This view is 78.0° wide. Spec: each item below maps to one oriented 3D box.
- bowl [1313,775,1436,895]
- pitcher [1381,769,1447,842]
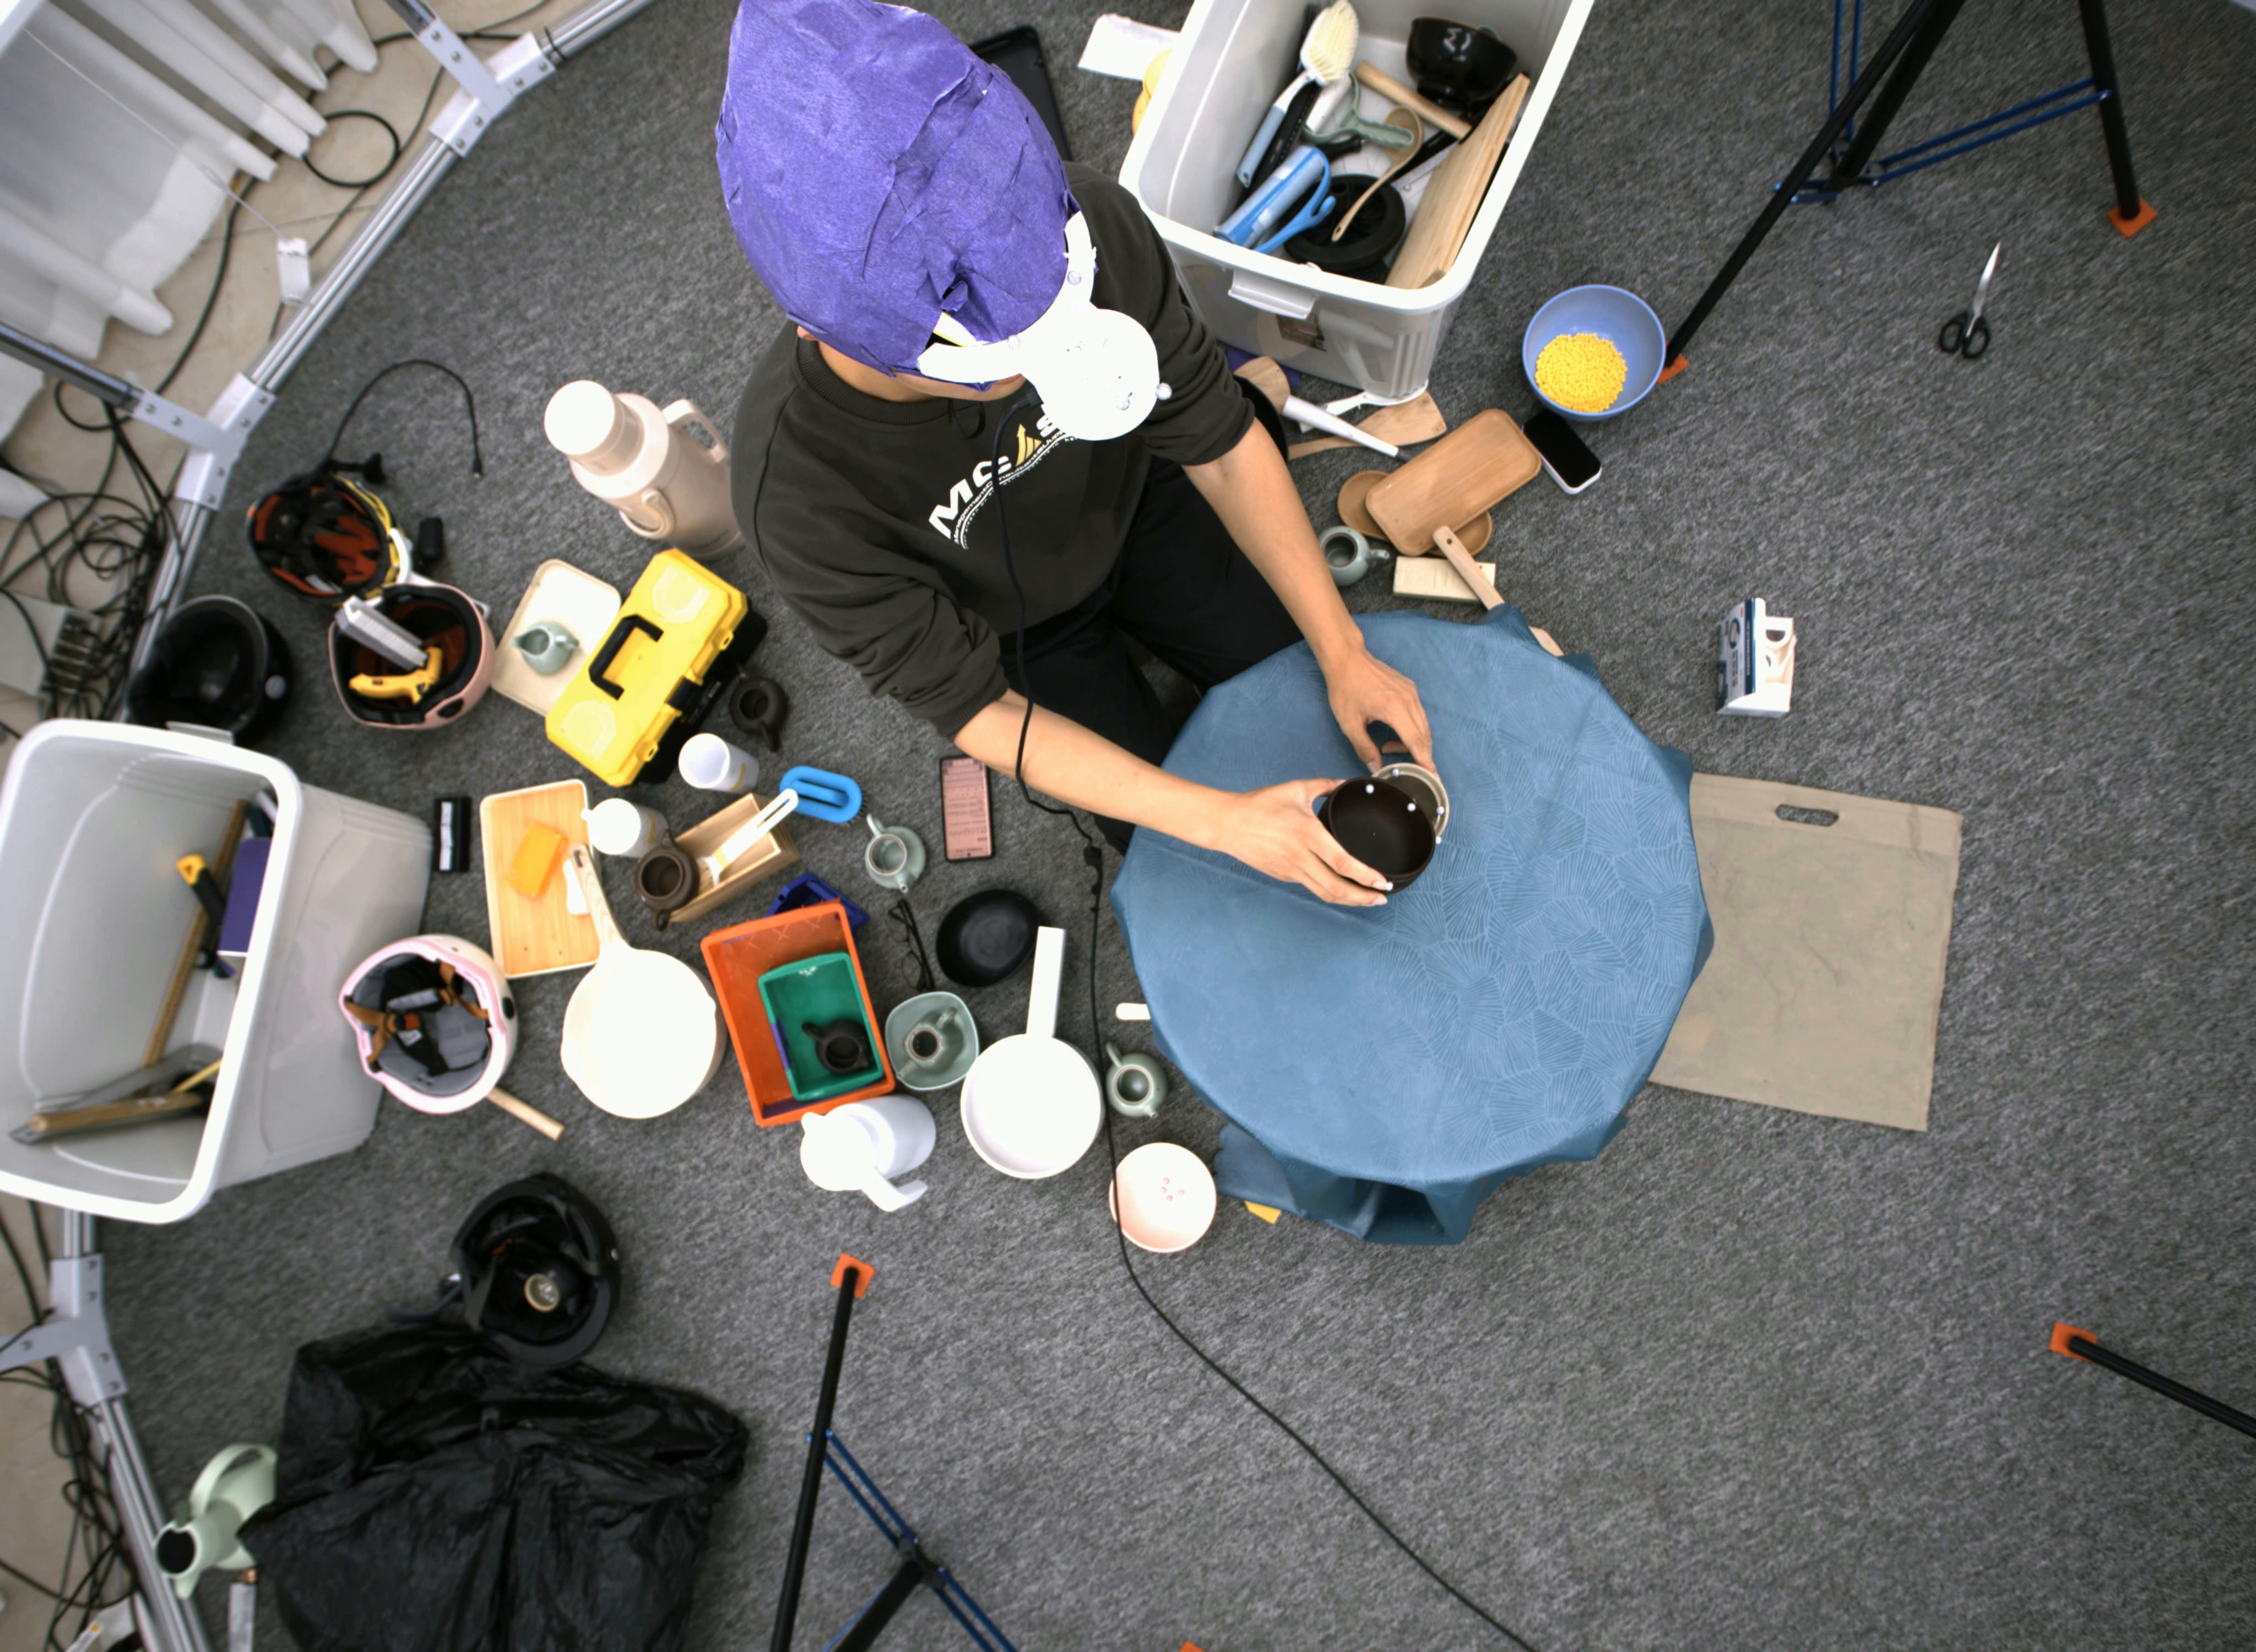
[{"bbox_3d":[0.236,0.015,1.354,0.118,0.071,0.115,7,58,-12],"label":"bowl"},{"bbox_3d":[0.283,-0.013,1.425,0.096,0.071,0.083,-35,83,7],"label":"pitcher"}]
